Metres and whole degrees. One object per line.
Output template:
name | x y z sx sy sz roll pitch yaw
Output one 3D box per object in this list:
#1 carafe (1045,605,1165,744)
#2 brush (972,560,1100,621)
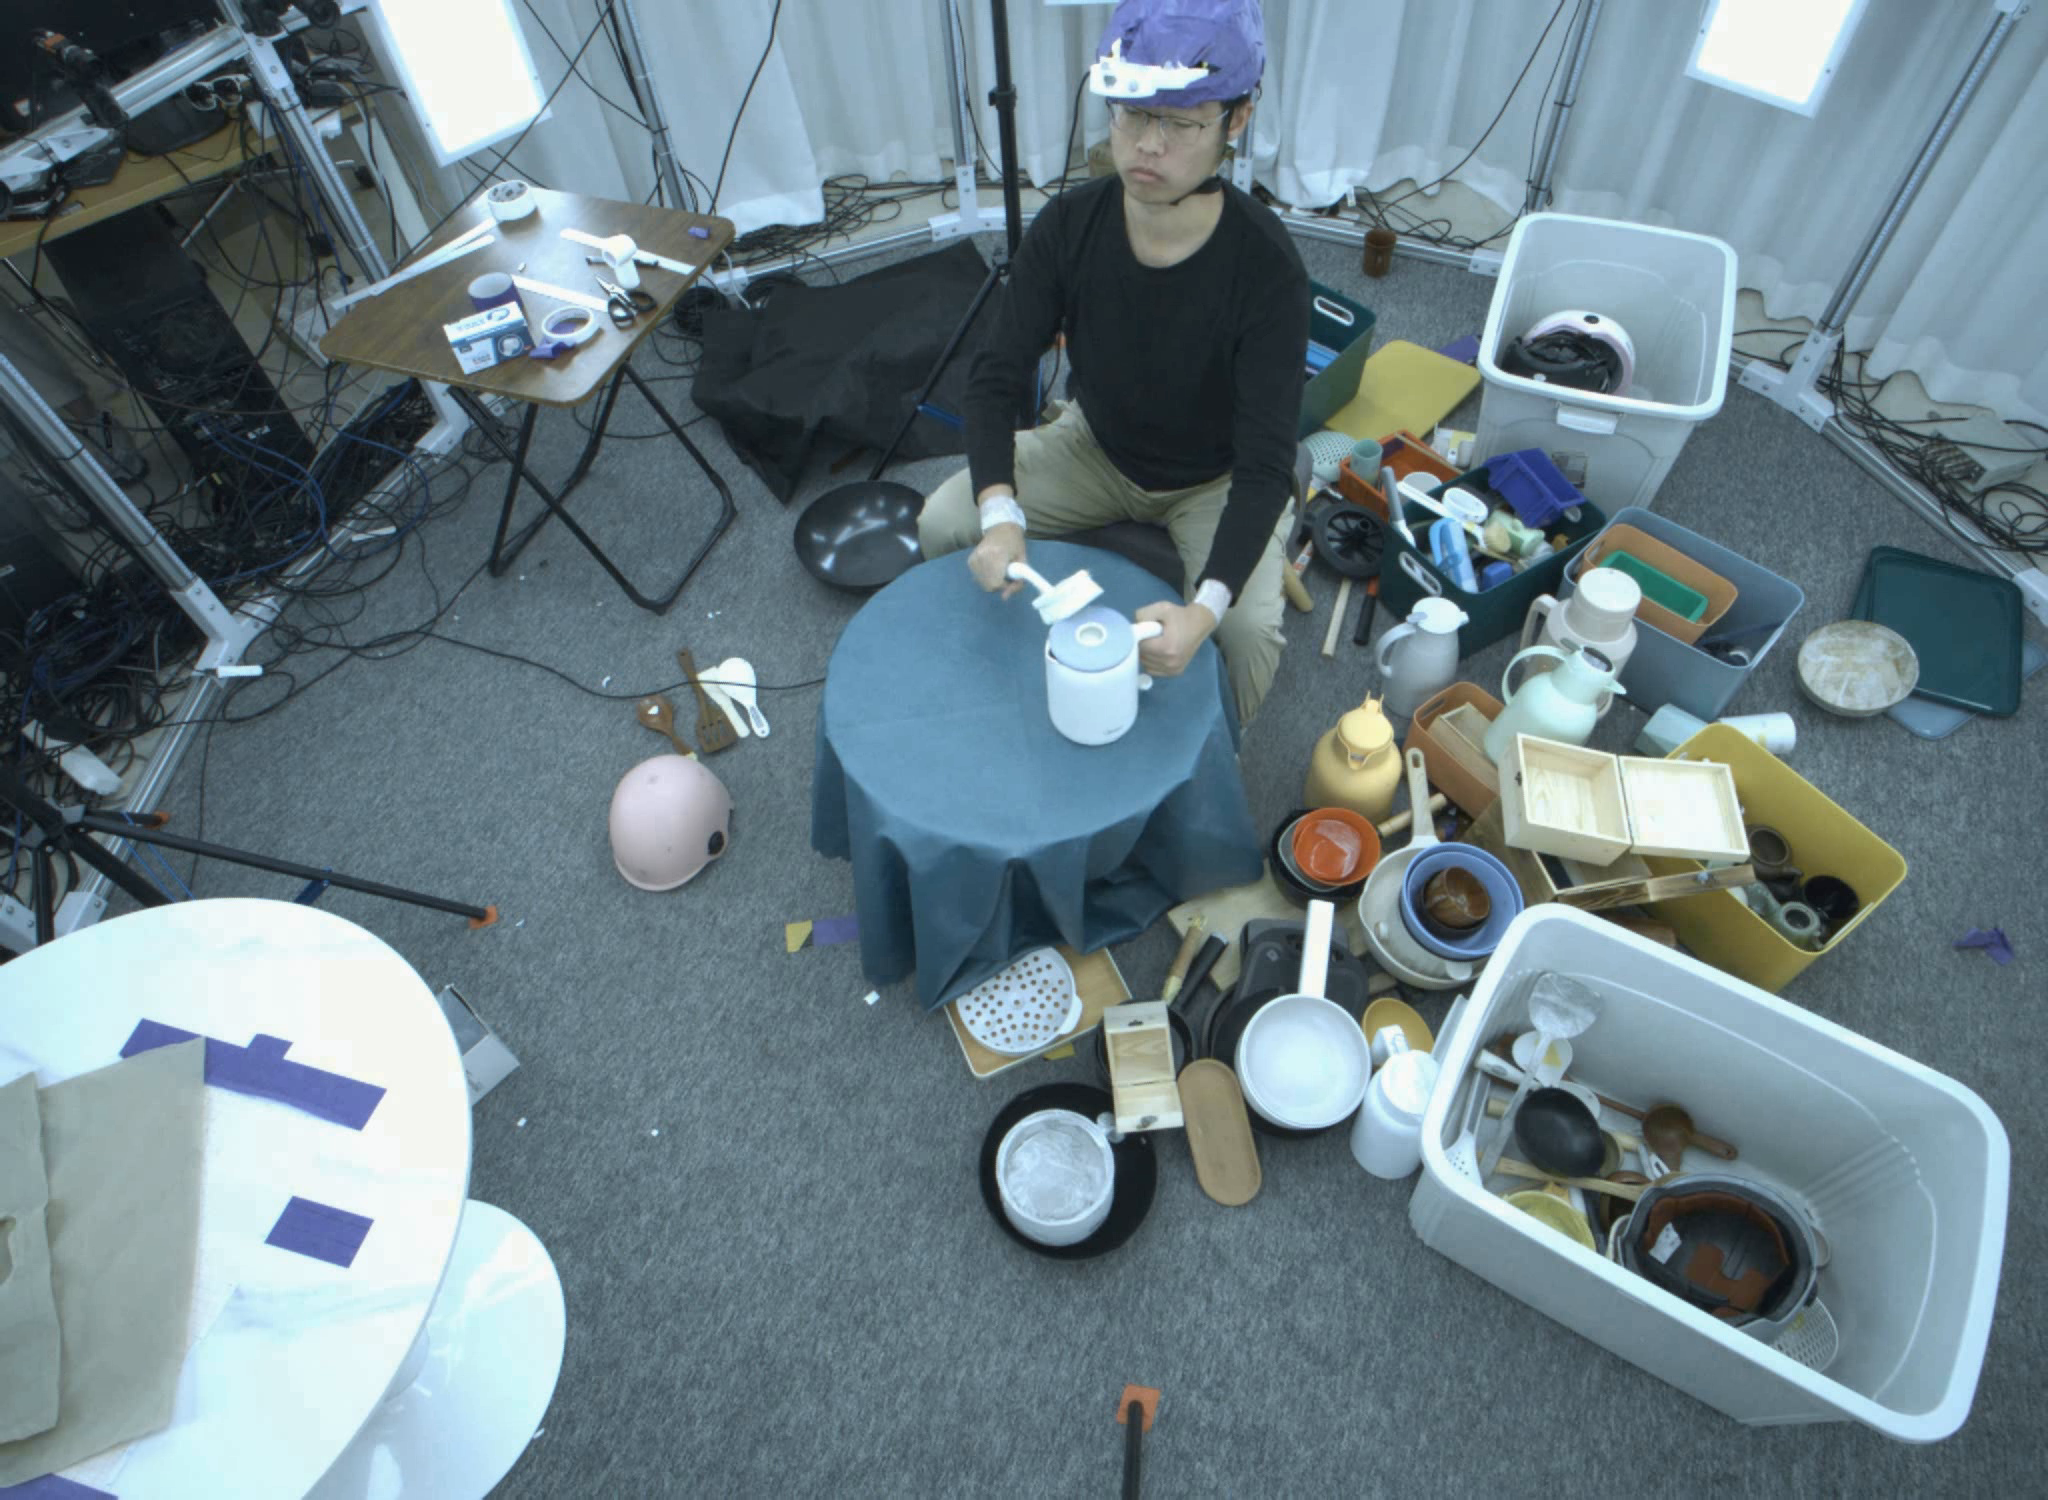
carafe | 0.120 -0.116 1.759 0.192 0.184 0.130 -23 57 -14
brush | 0.018 -0.231 1.794 0.085 0.318 0.084 6 94 -30
